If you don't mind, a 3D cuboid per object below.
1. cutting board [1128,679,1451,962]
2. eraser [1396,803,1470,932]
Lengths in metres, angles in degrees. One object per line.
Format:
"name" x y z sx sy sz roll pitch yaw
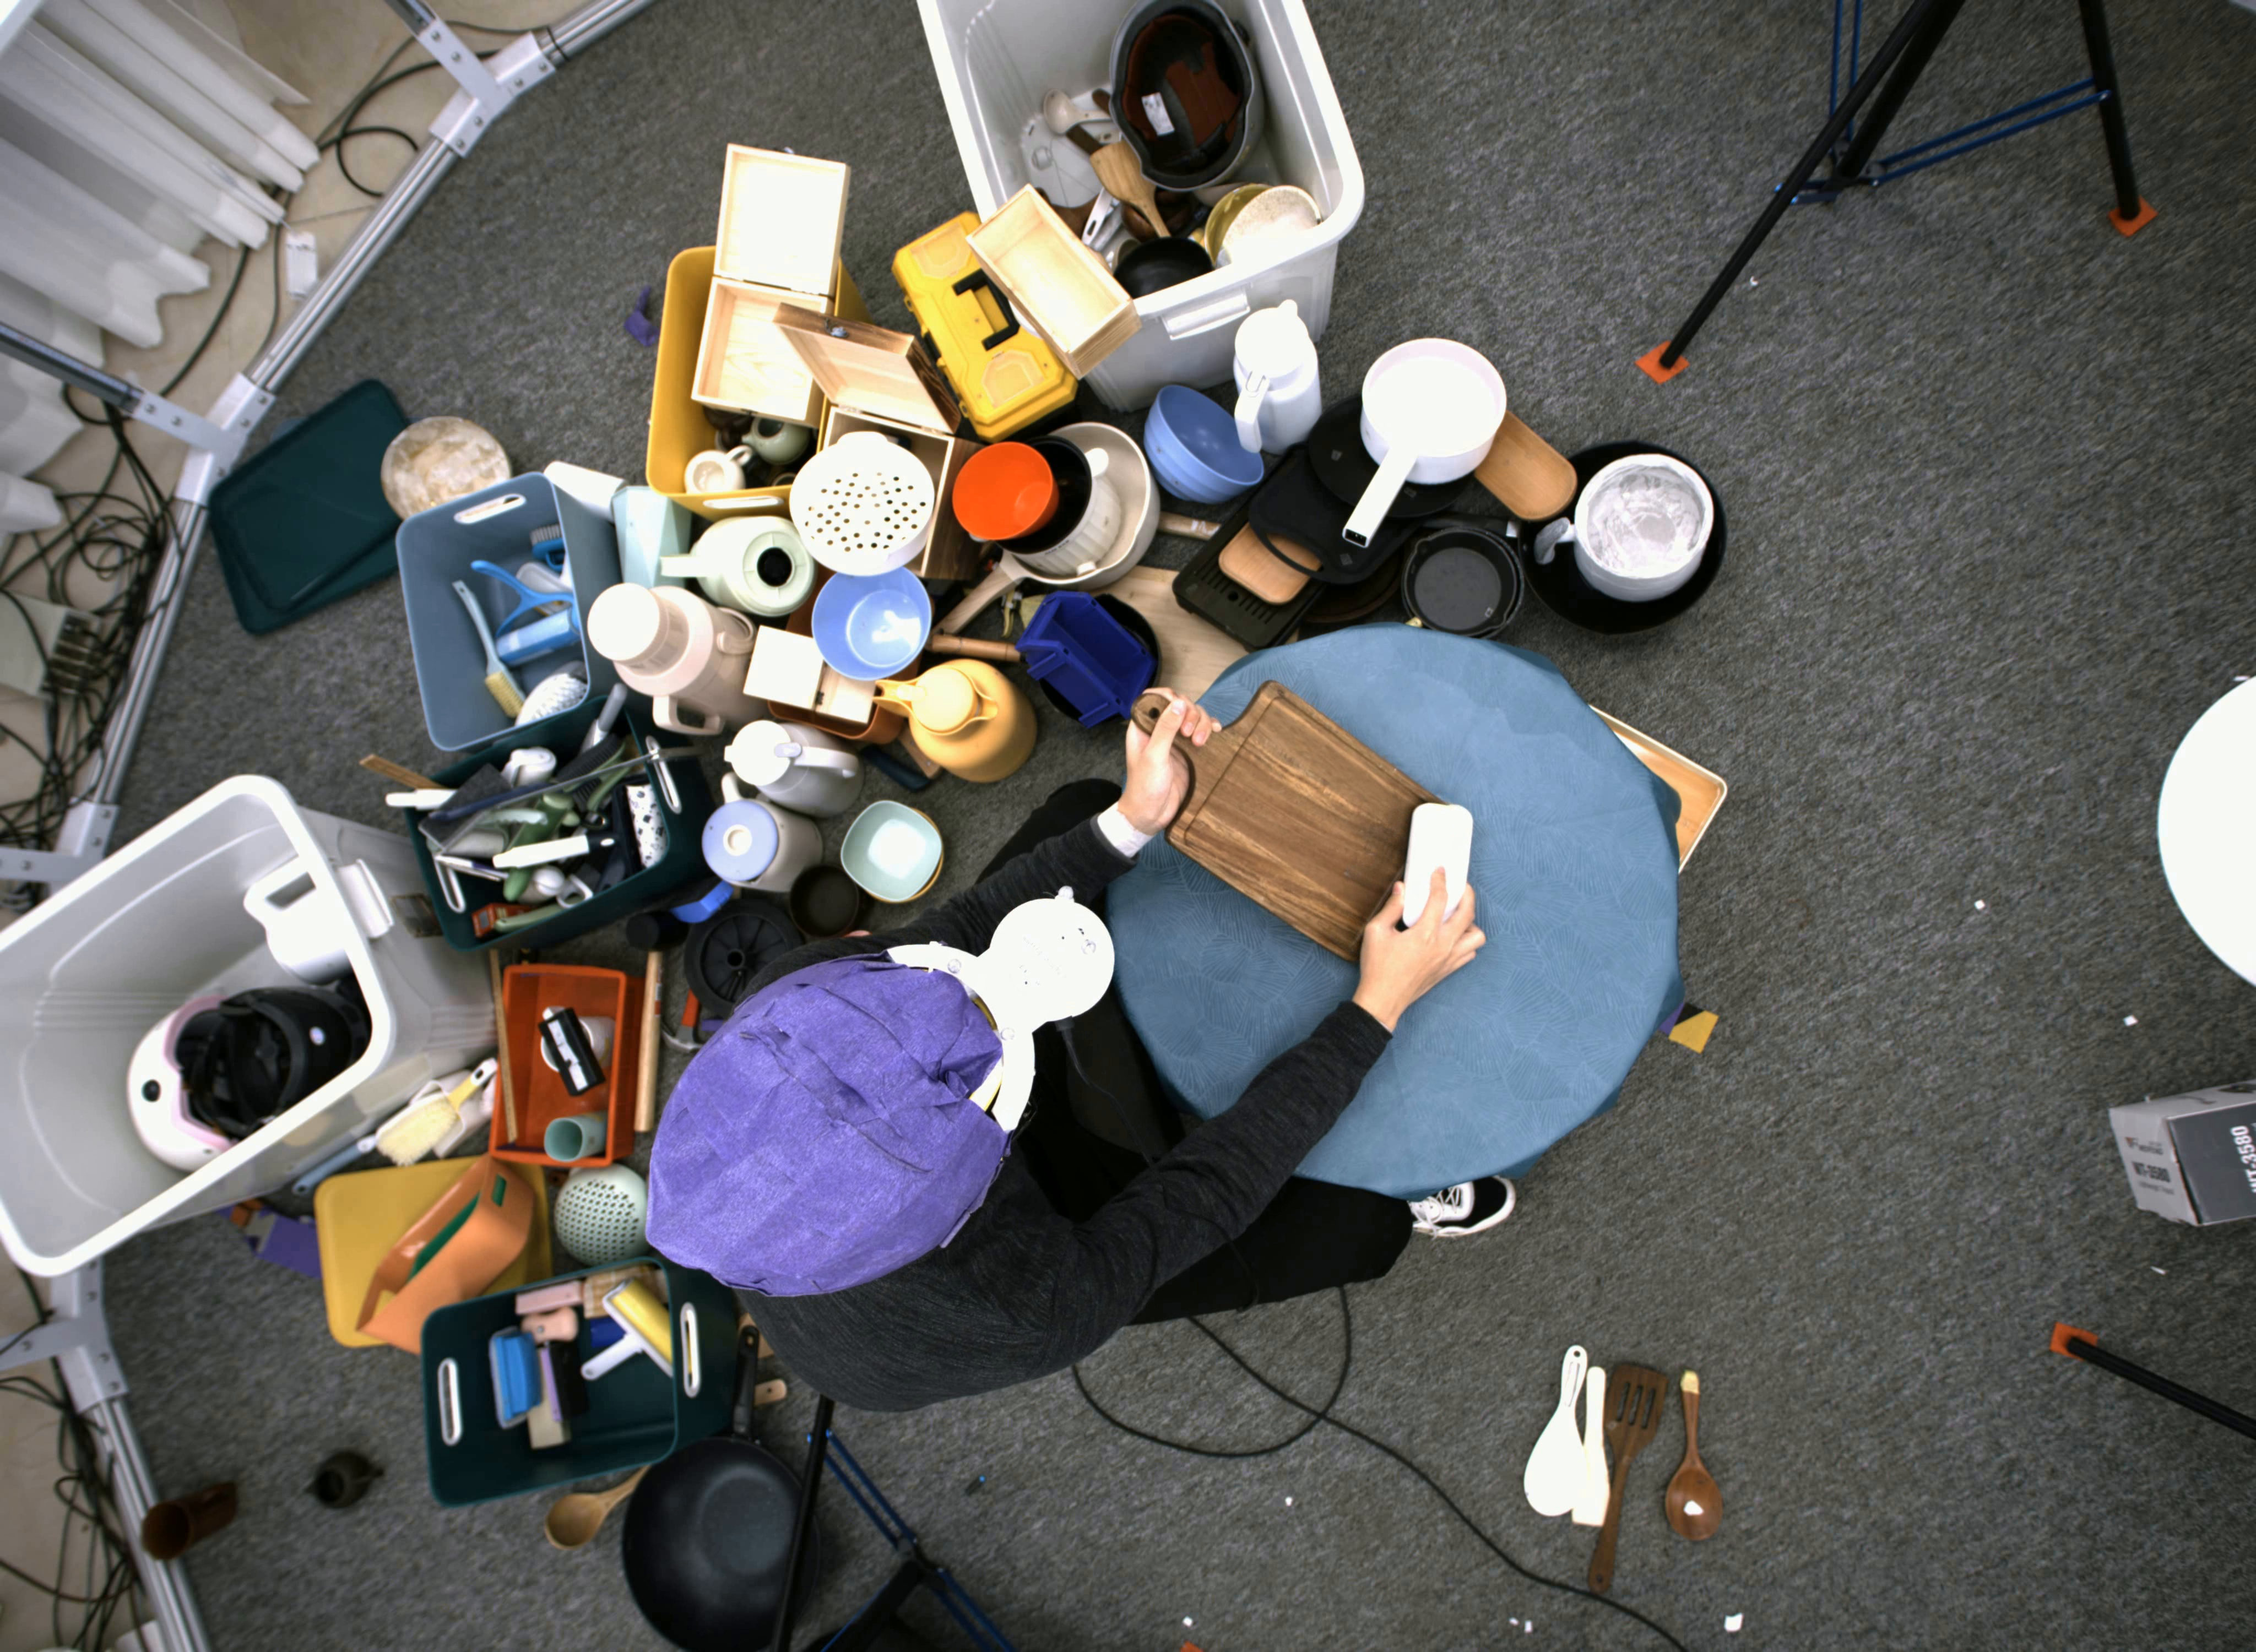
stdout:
"cutting board" 0.148 -0.029 1.396 0.354 0.023 0.201 33 92 -17
"eraser" 0.313 0.041 1.423 0.063 0.034 0.132 7 95 -7
